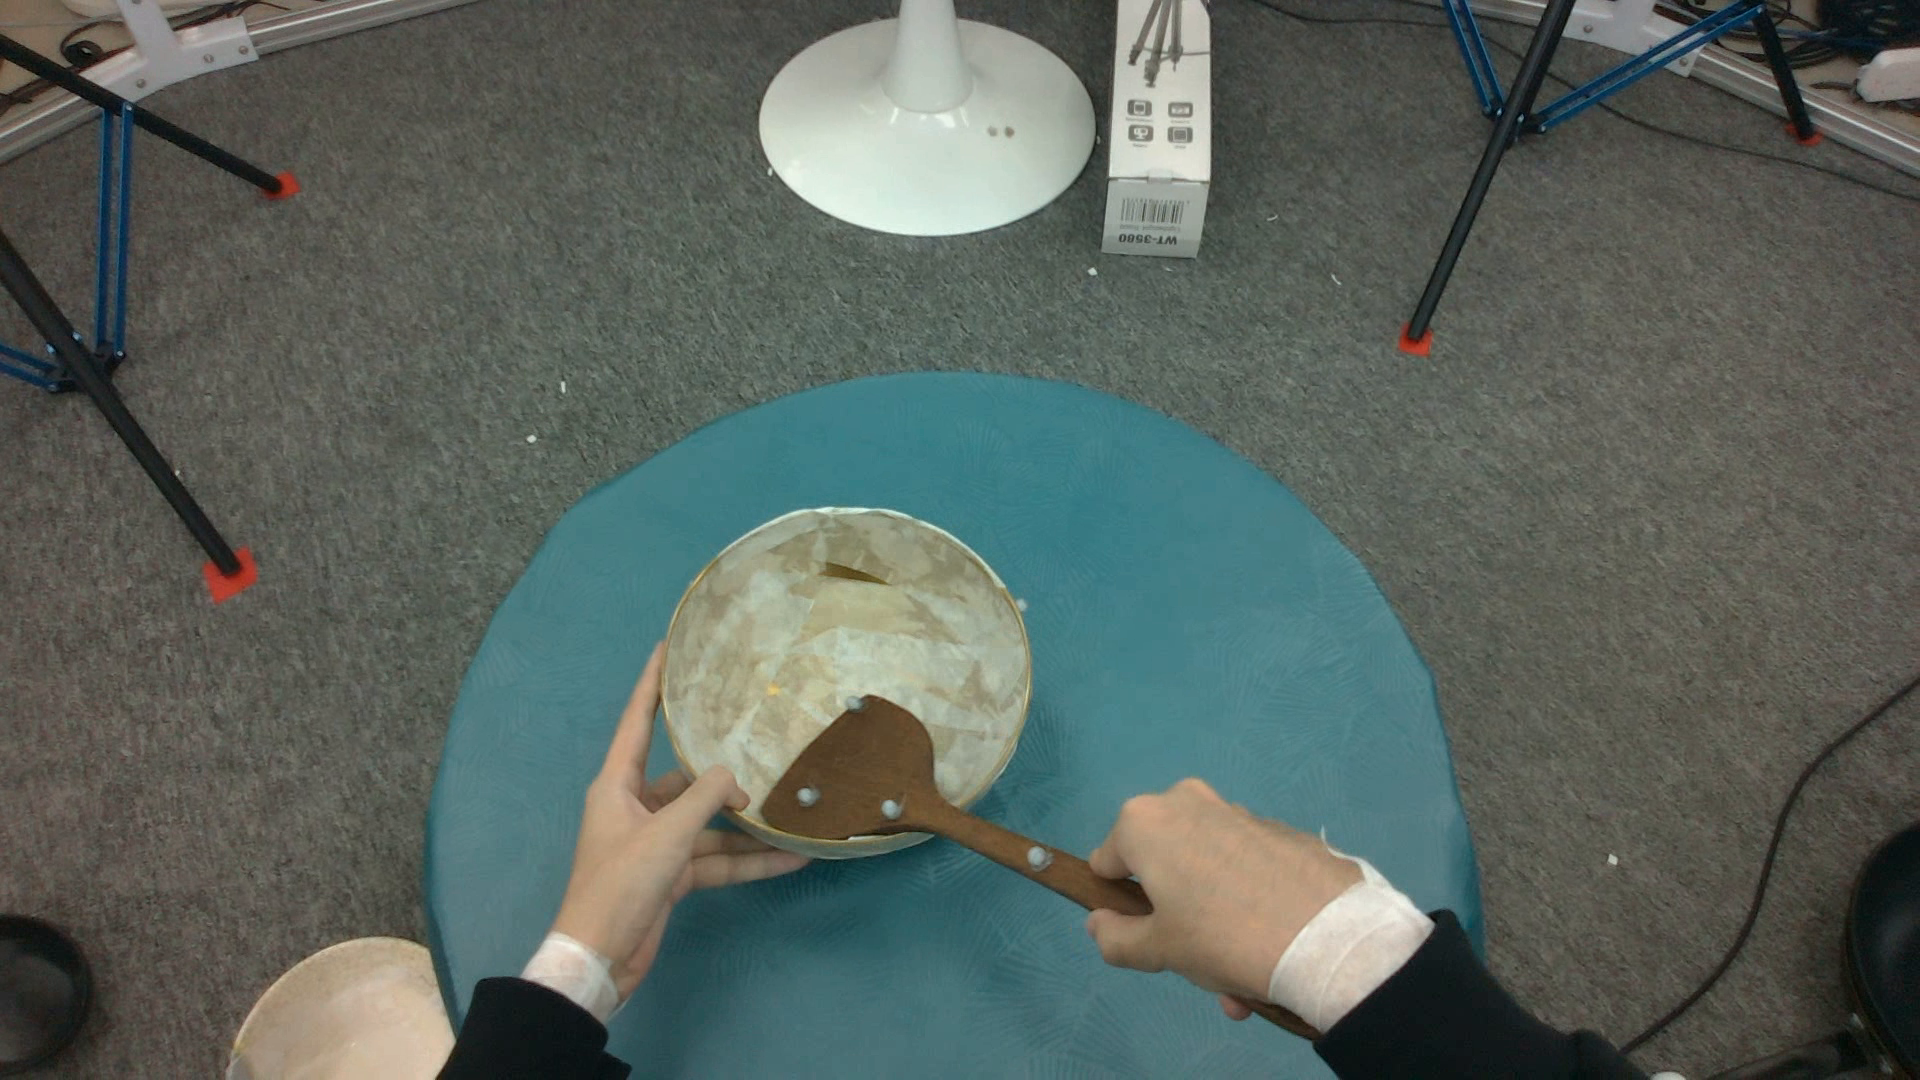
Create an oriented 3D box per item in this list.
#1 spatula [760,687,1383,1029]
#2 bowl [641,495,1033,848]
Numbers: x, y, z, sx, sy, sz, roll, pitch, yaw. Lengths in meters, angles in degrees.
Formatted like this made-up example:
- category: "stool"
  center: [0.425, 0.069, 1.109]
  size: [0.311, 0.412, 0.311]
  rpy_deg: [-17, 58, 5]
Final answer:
- category: "spatula"
  center: [0.027, 0.135, 0.616]
  size: [0.096, 0.016, 0.385]
  rpy_deg: [-47, 29, -22]
- category: "bowl"
  center: [-0.071, 0.086, 0.771]
  size: [0.215, 0.094, 0.215]
  rpy_deg: [4, 59, -6]
